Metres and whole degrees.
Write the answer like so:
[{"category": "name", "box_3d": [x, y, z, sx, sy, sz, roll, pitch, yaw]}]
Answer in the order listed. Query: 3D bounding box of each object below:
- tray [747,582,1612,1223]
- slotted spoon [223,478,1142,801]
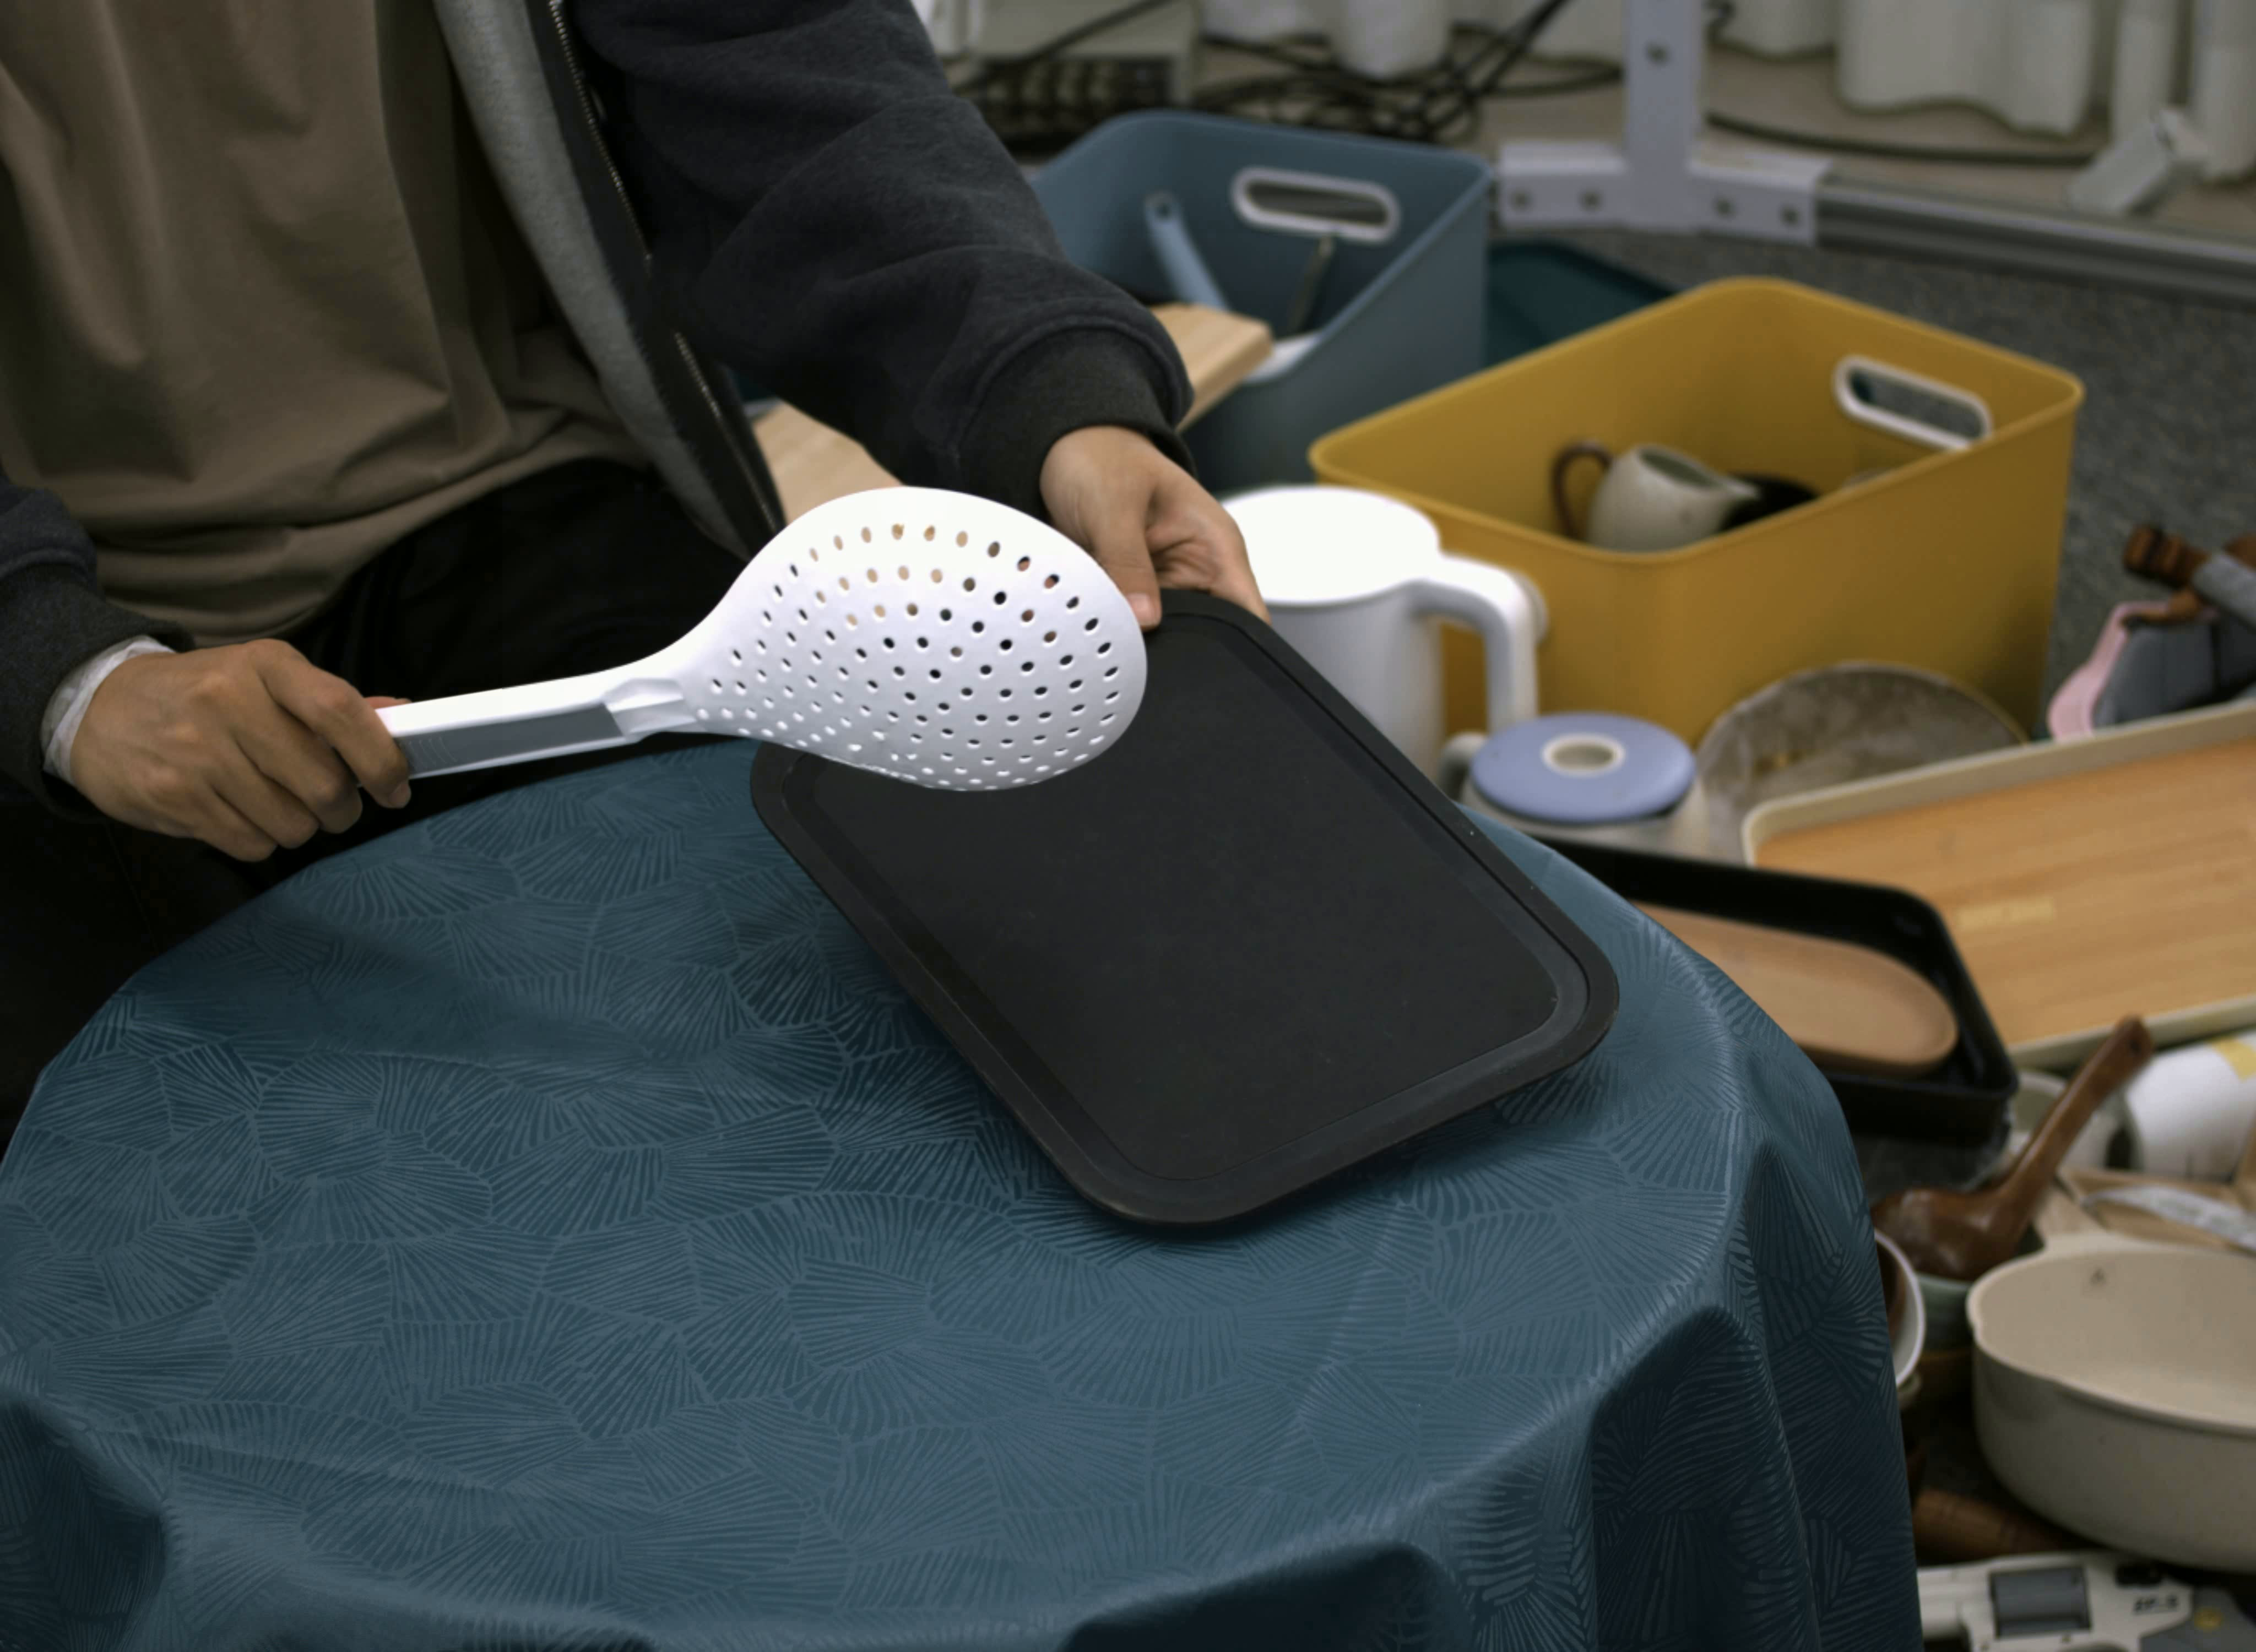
[{"category": "tray", "box_3d": [0.009, 0.015, 1.961, 0.212, 0.009, 0.328, -22, 44, -22]}, {"category": "slotted spoon", "box_3d": [-0.160, -0.045, 1.923, 0.346, 0.134, 0.046, -5, 41, 27]}]
